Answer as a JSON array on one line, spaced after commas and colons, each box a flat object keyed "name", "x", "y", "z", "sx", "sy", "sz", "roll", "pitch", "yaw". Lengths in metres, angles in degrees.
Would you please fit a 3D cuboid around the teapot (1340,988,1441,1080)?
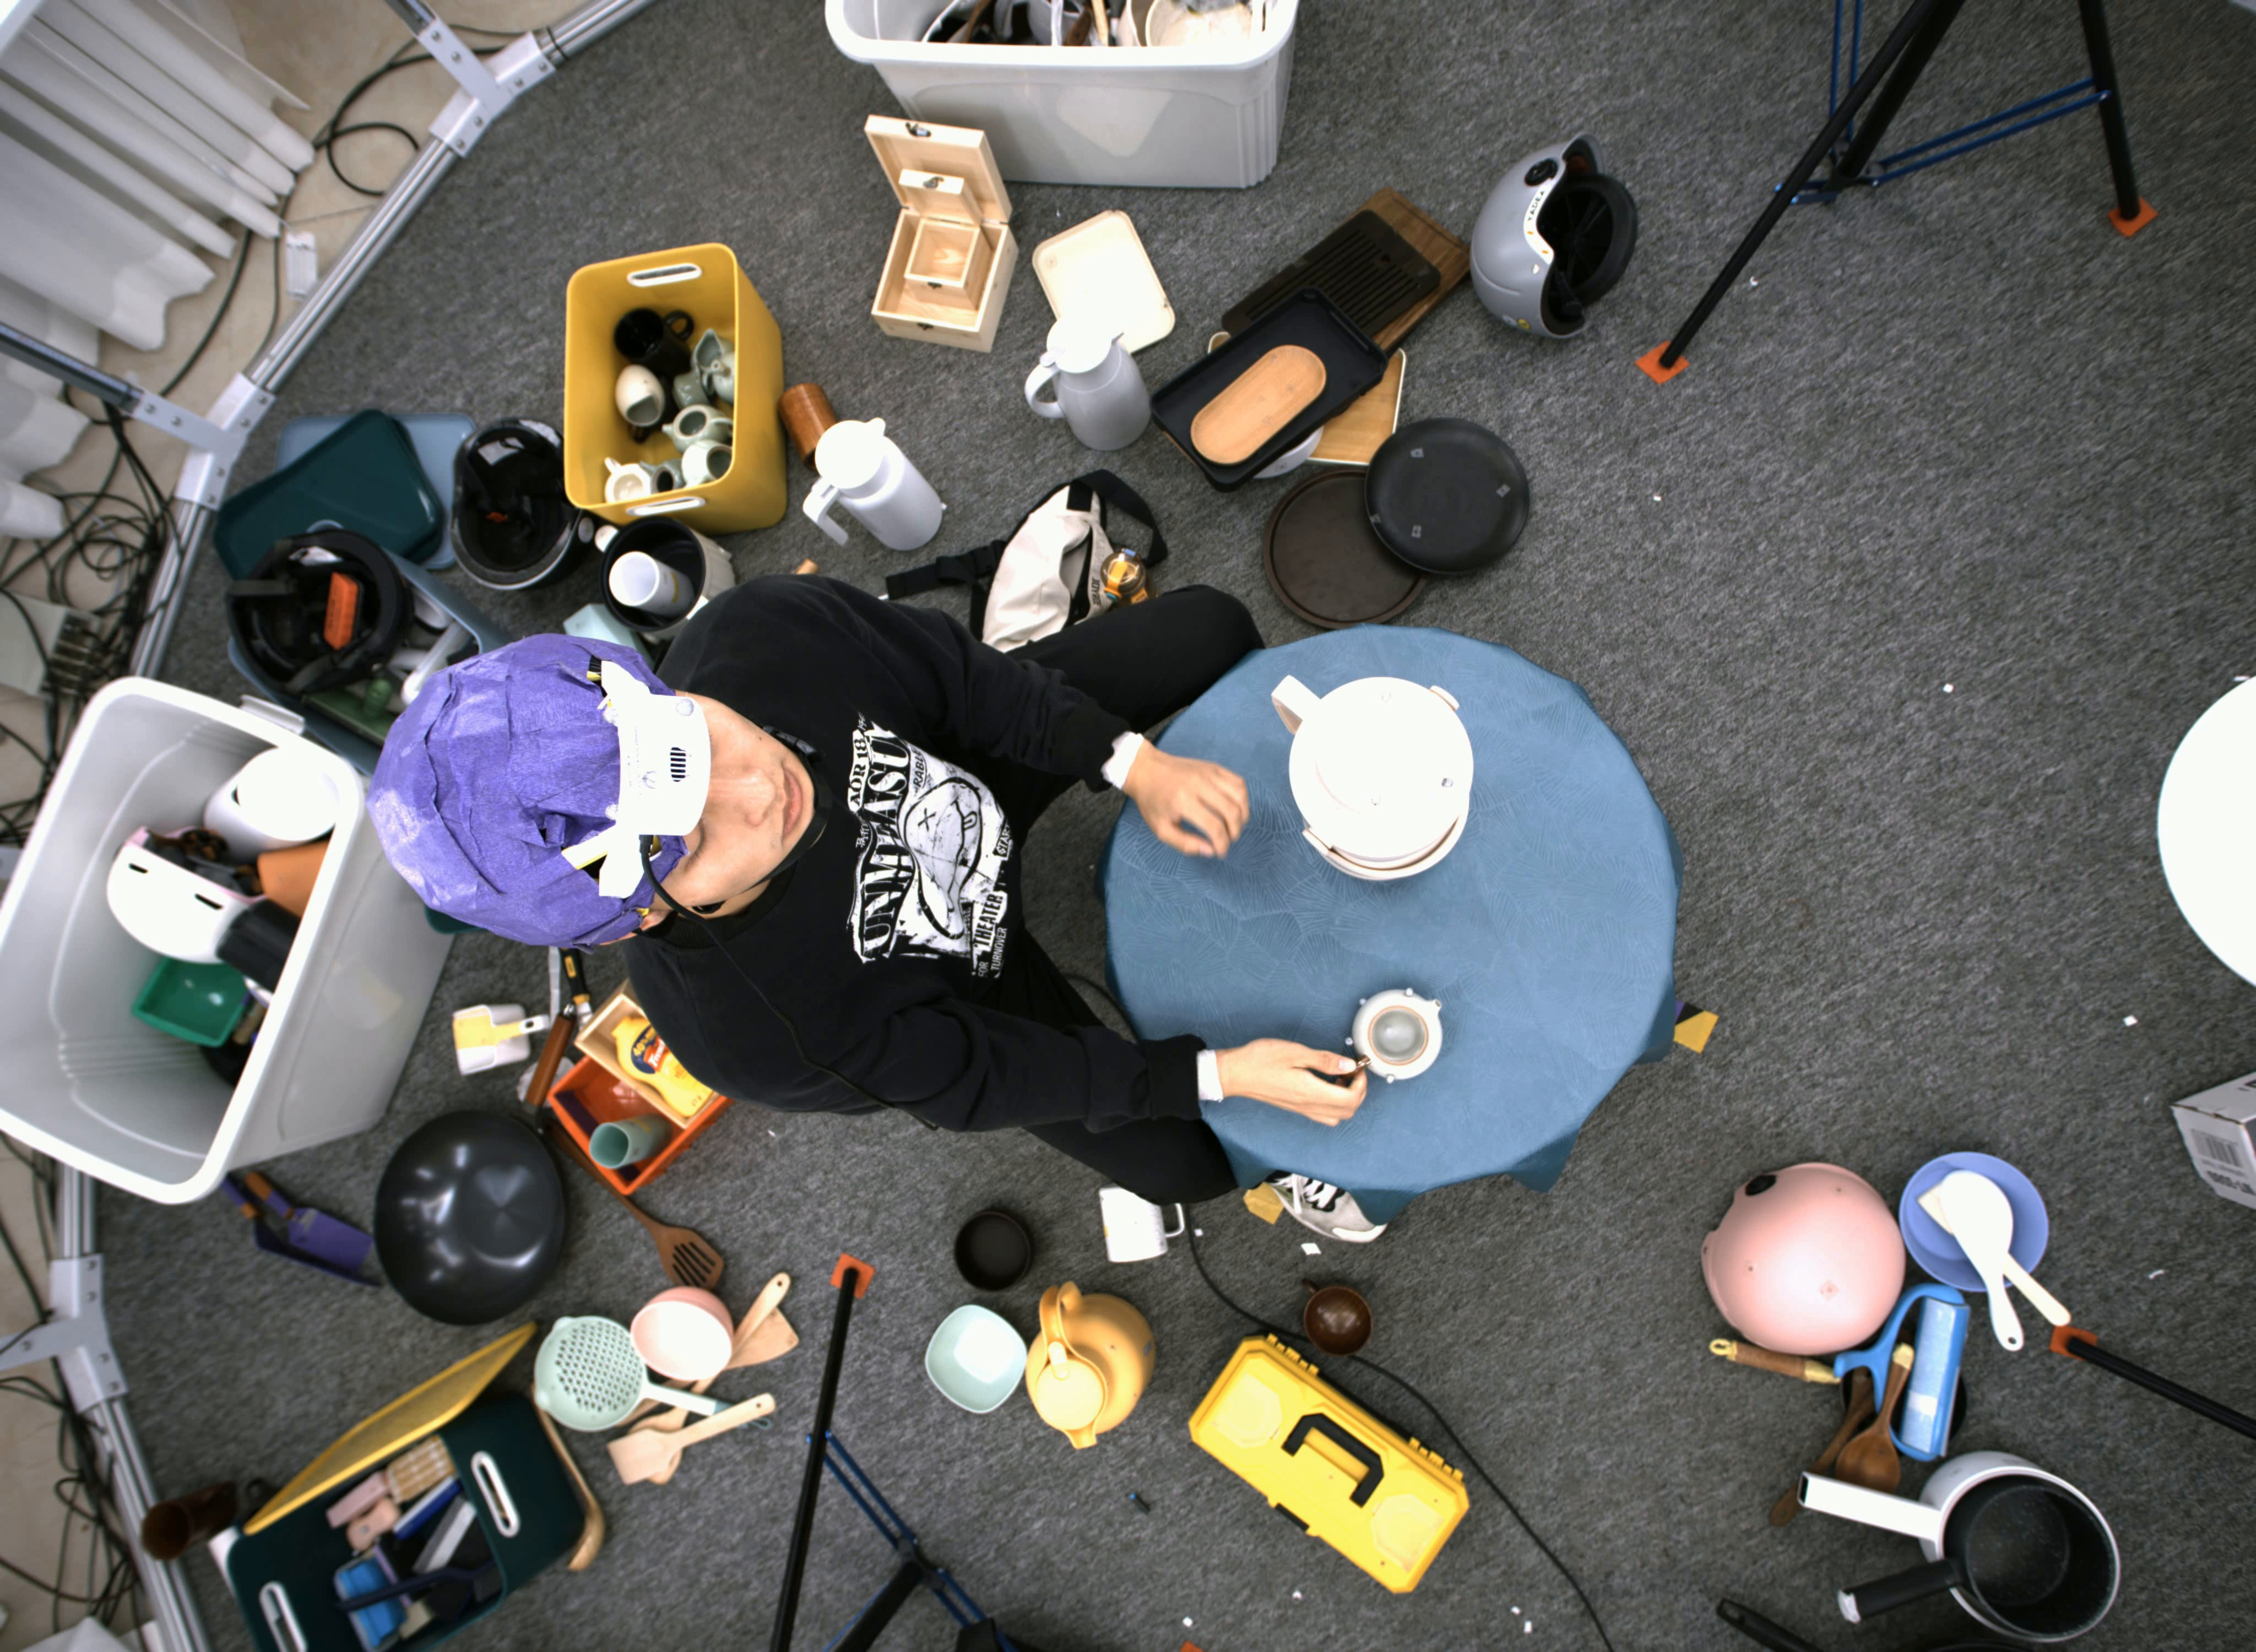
[{"name": "teapot", "x": 0.269, "y": 0.218, "z": 1.425, "sx": 0.128, "sy": 0.059, "sz": 0.091, "roll": -41, "pitch": 83, "yaw": 5}]

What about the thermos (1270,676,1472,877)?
[{"name": "thermos", "x": 0.222, "y": -0.053, "z": 1.275, "sx": 0.206, "sy": 0.406, "sz": 0.176, "roll": 41, "pitch": 94, "yaw": 10}]
